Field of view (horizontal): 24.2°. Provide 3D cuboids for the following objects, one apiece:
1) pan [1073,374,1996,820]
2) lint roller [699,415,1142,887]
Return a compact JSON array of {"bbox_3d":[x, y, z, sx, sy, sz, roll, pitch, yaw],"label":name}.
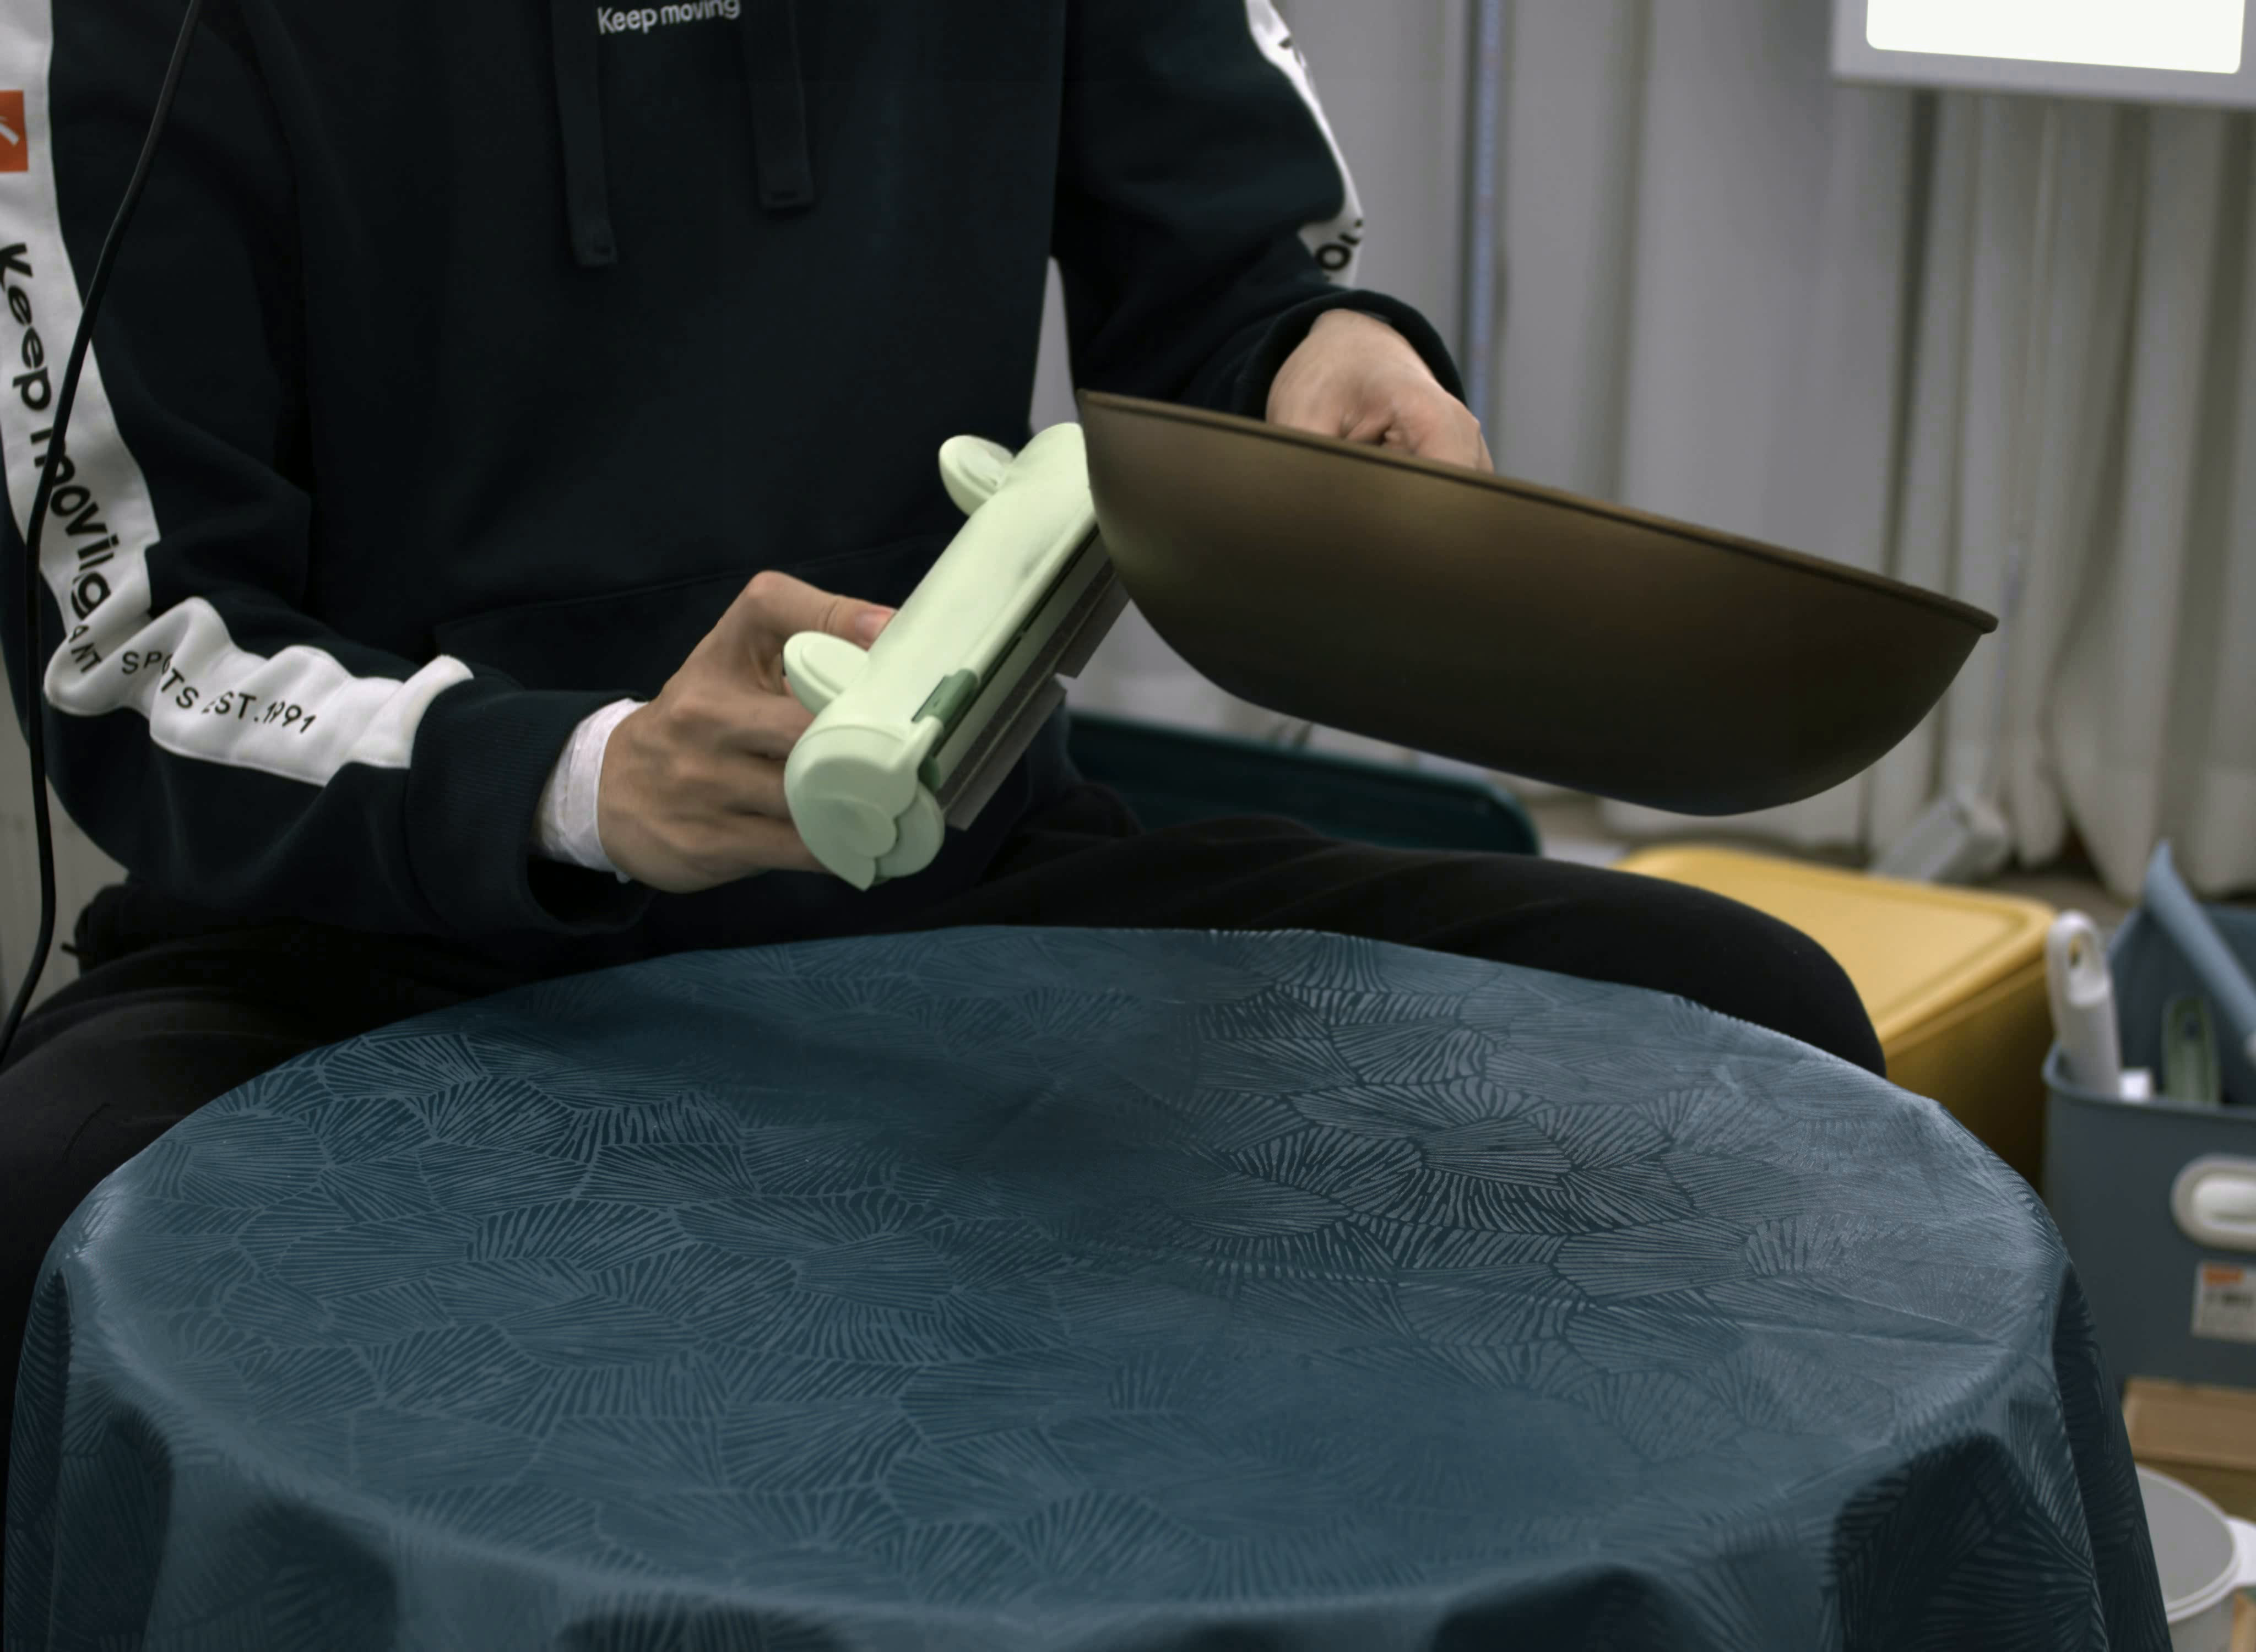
[{"bbox_3d":[0.088,-0.070,1.653,0.289,0.087,0.460,14,2,-16],"label":"pan"},{"bbox_3d":[-0.088,-0.046,1.661,0.182,0.083,0.198,-23,22,38],"label":"lint roller"}]
